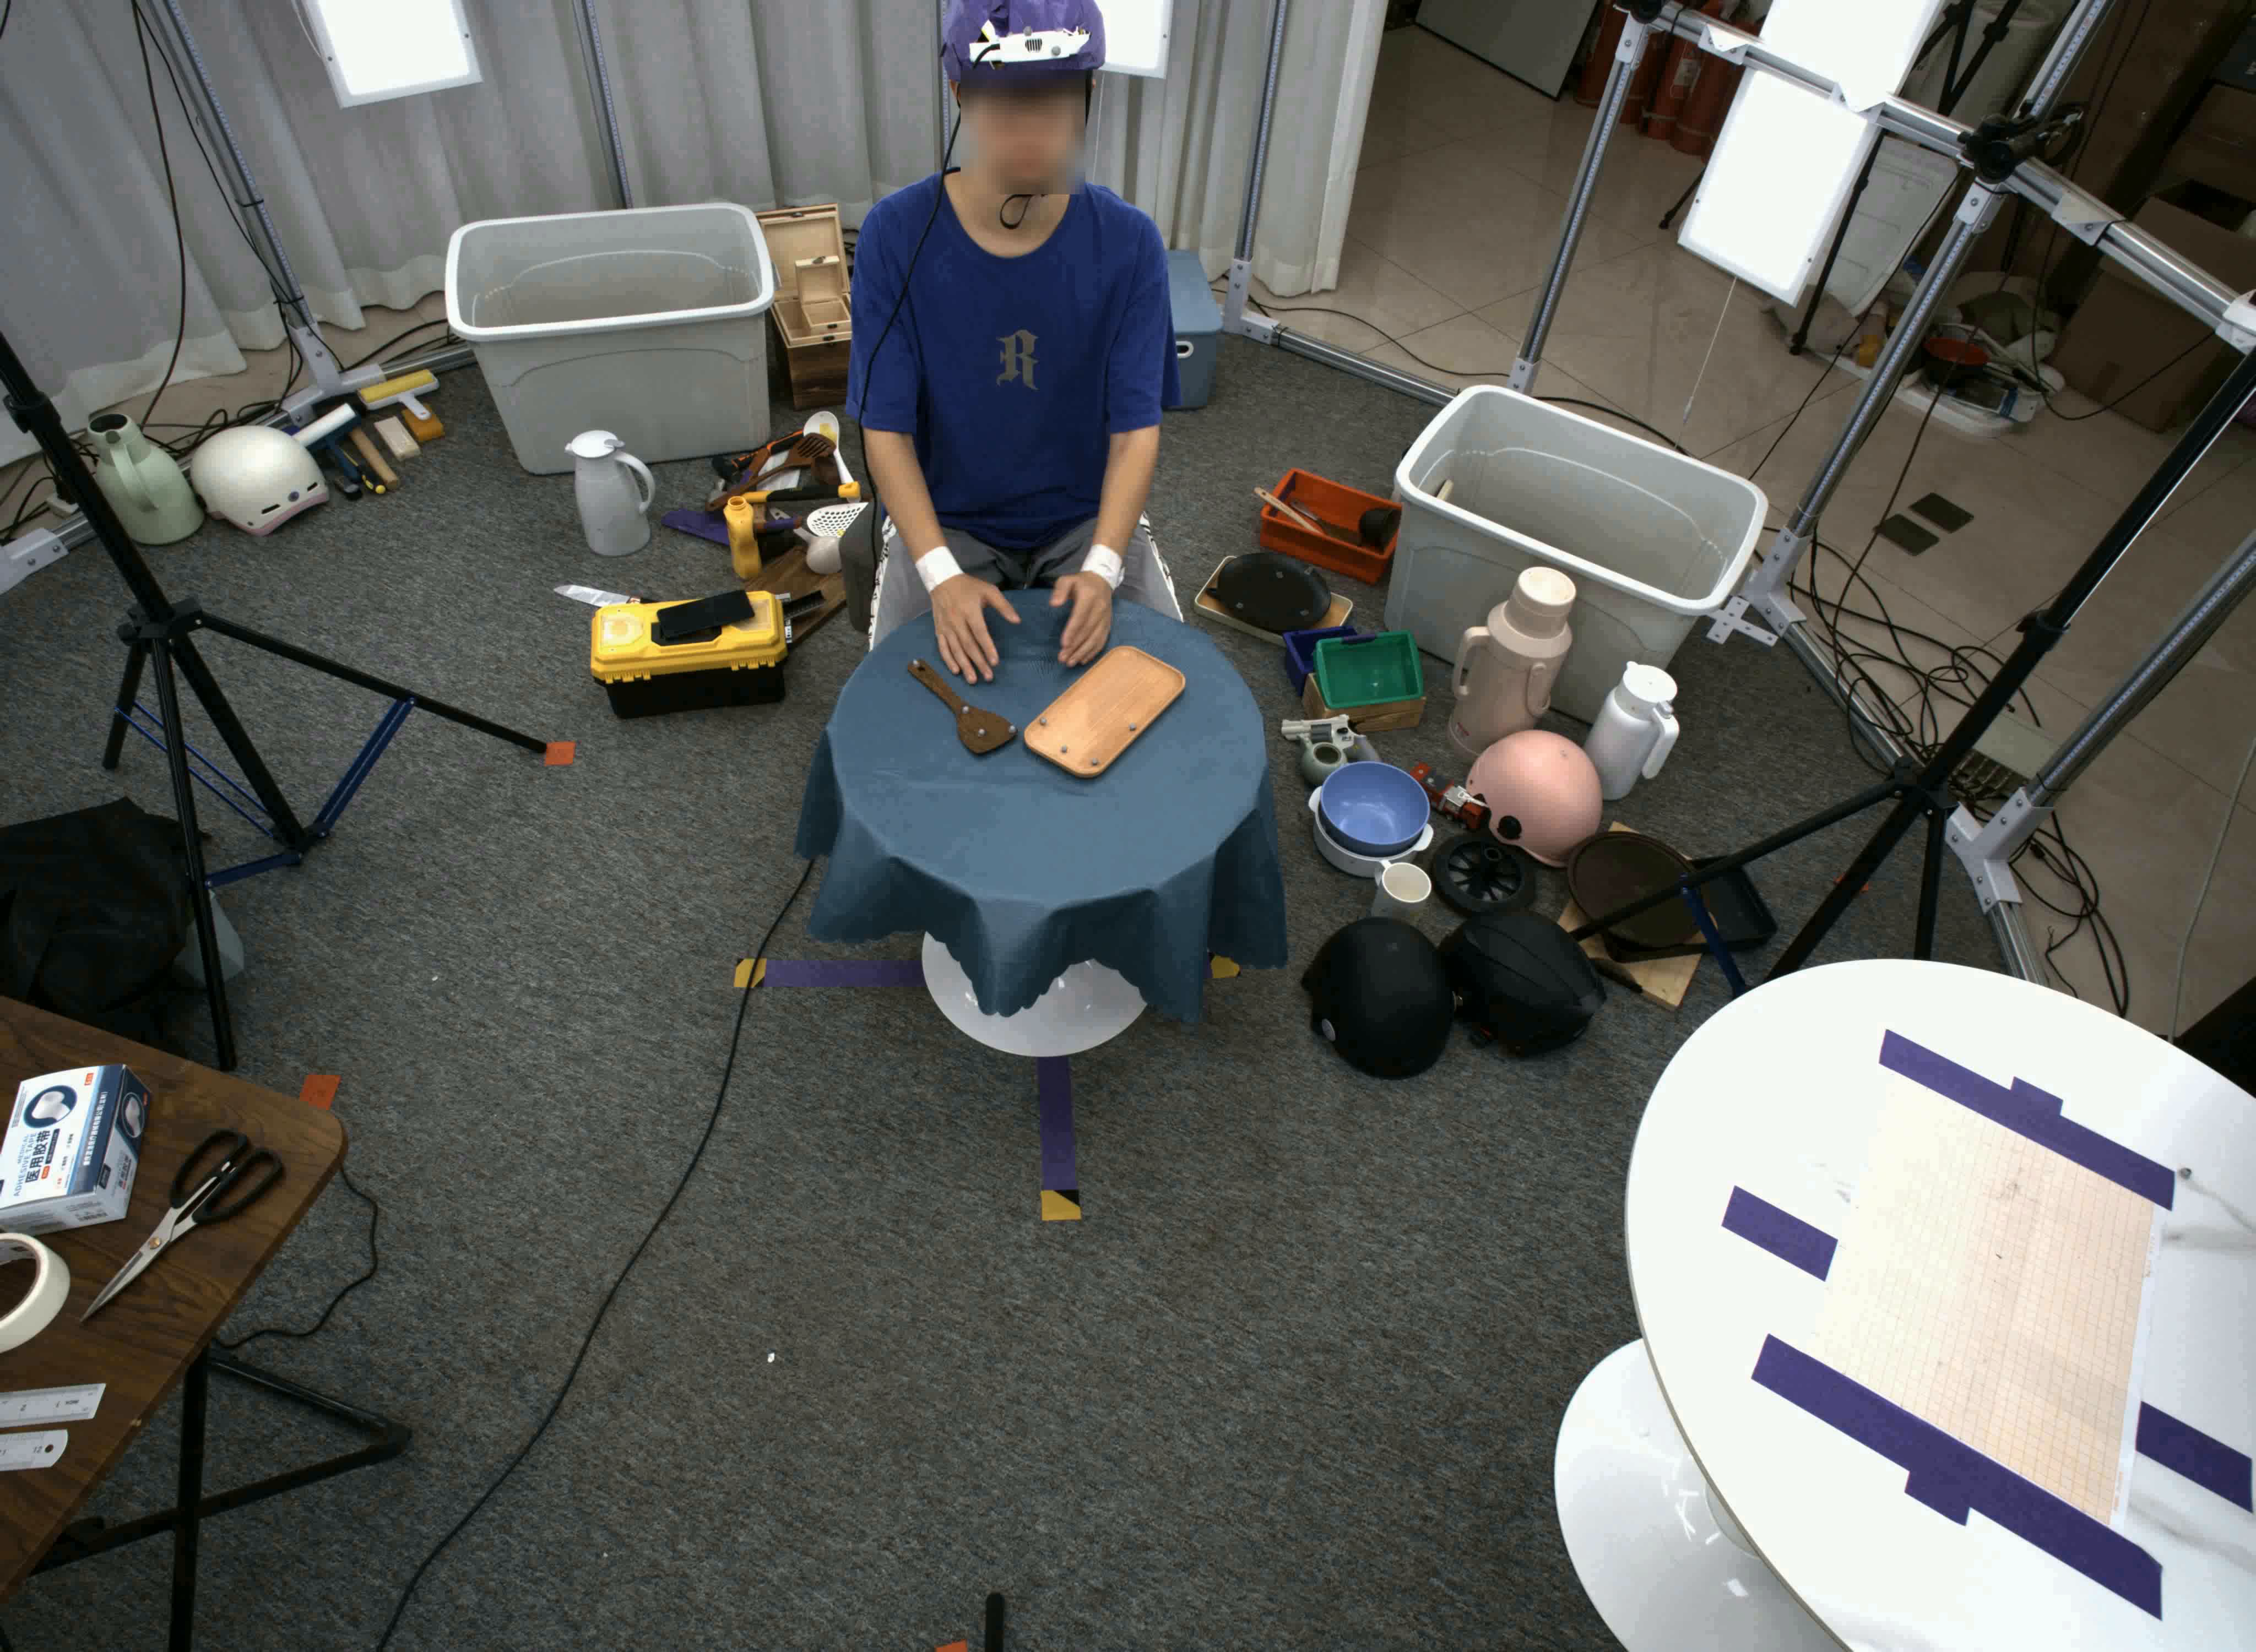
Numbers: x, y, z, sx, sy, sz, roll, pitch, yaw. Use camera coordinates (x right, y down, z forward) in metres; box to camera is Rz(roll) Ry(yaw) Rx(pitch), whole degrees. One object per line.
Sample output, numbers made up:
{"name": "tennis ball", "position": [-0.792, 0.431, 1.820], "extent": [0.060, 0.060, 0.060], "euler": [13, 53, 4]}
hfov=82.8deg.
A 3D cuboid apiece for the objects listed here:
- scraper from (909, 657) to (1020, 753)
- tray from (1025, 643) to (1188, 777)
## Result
{"name": "scraper", "position": [-0.239, -0.174, 1.802], "extent": [0.076, 0.010, 0.215], "euler": [-30, 57, -26]}
{"name": "tray", "position": [-0.028, -0.166, 1.803], "extent": [0.132, 0.022, 0.254], "euler": [32, 54, 19]}
